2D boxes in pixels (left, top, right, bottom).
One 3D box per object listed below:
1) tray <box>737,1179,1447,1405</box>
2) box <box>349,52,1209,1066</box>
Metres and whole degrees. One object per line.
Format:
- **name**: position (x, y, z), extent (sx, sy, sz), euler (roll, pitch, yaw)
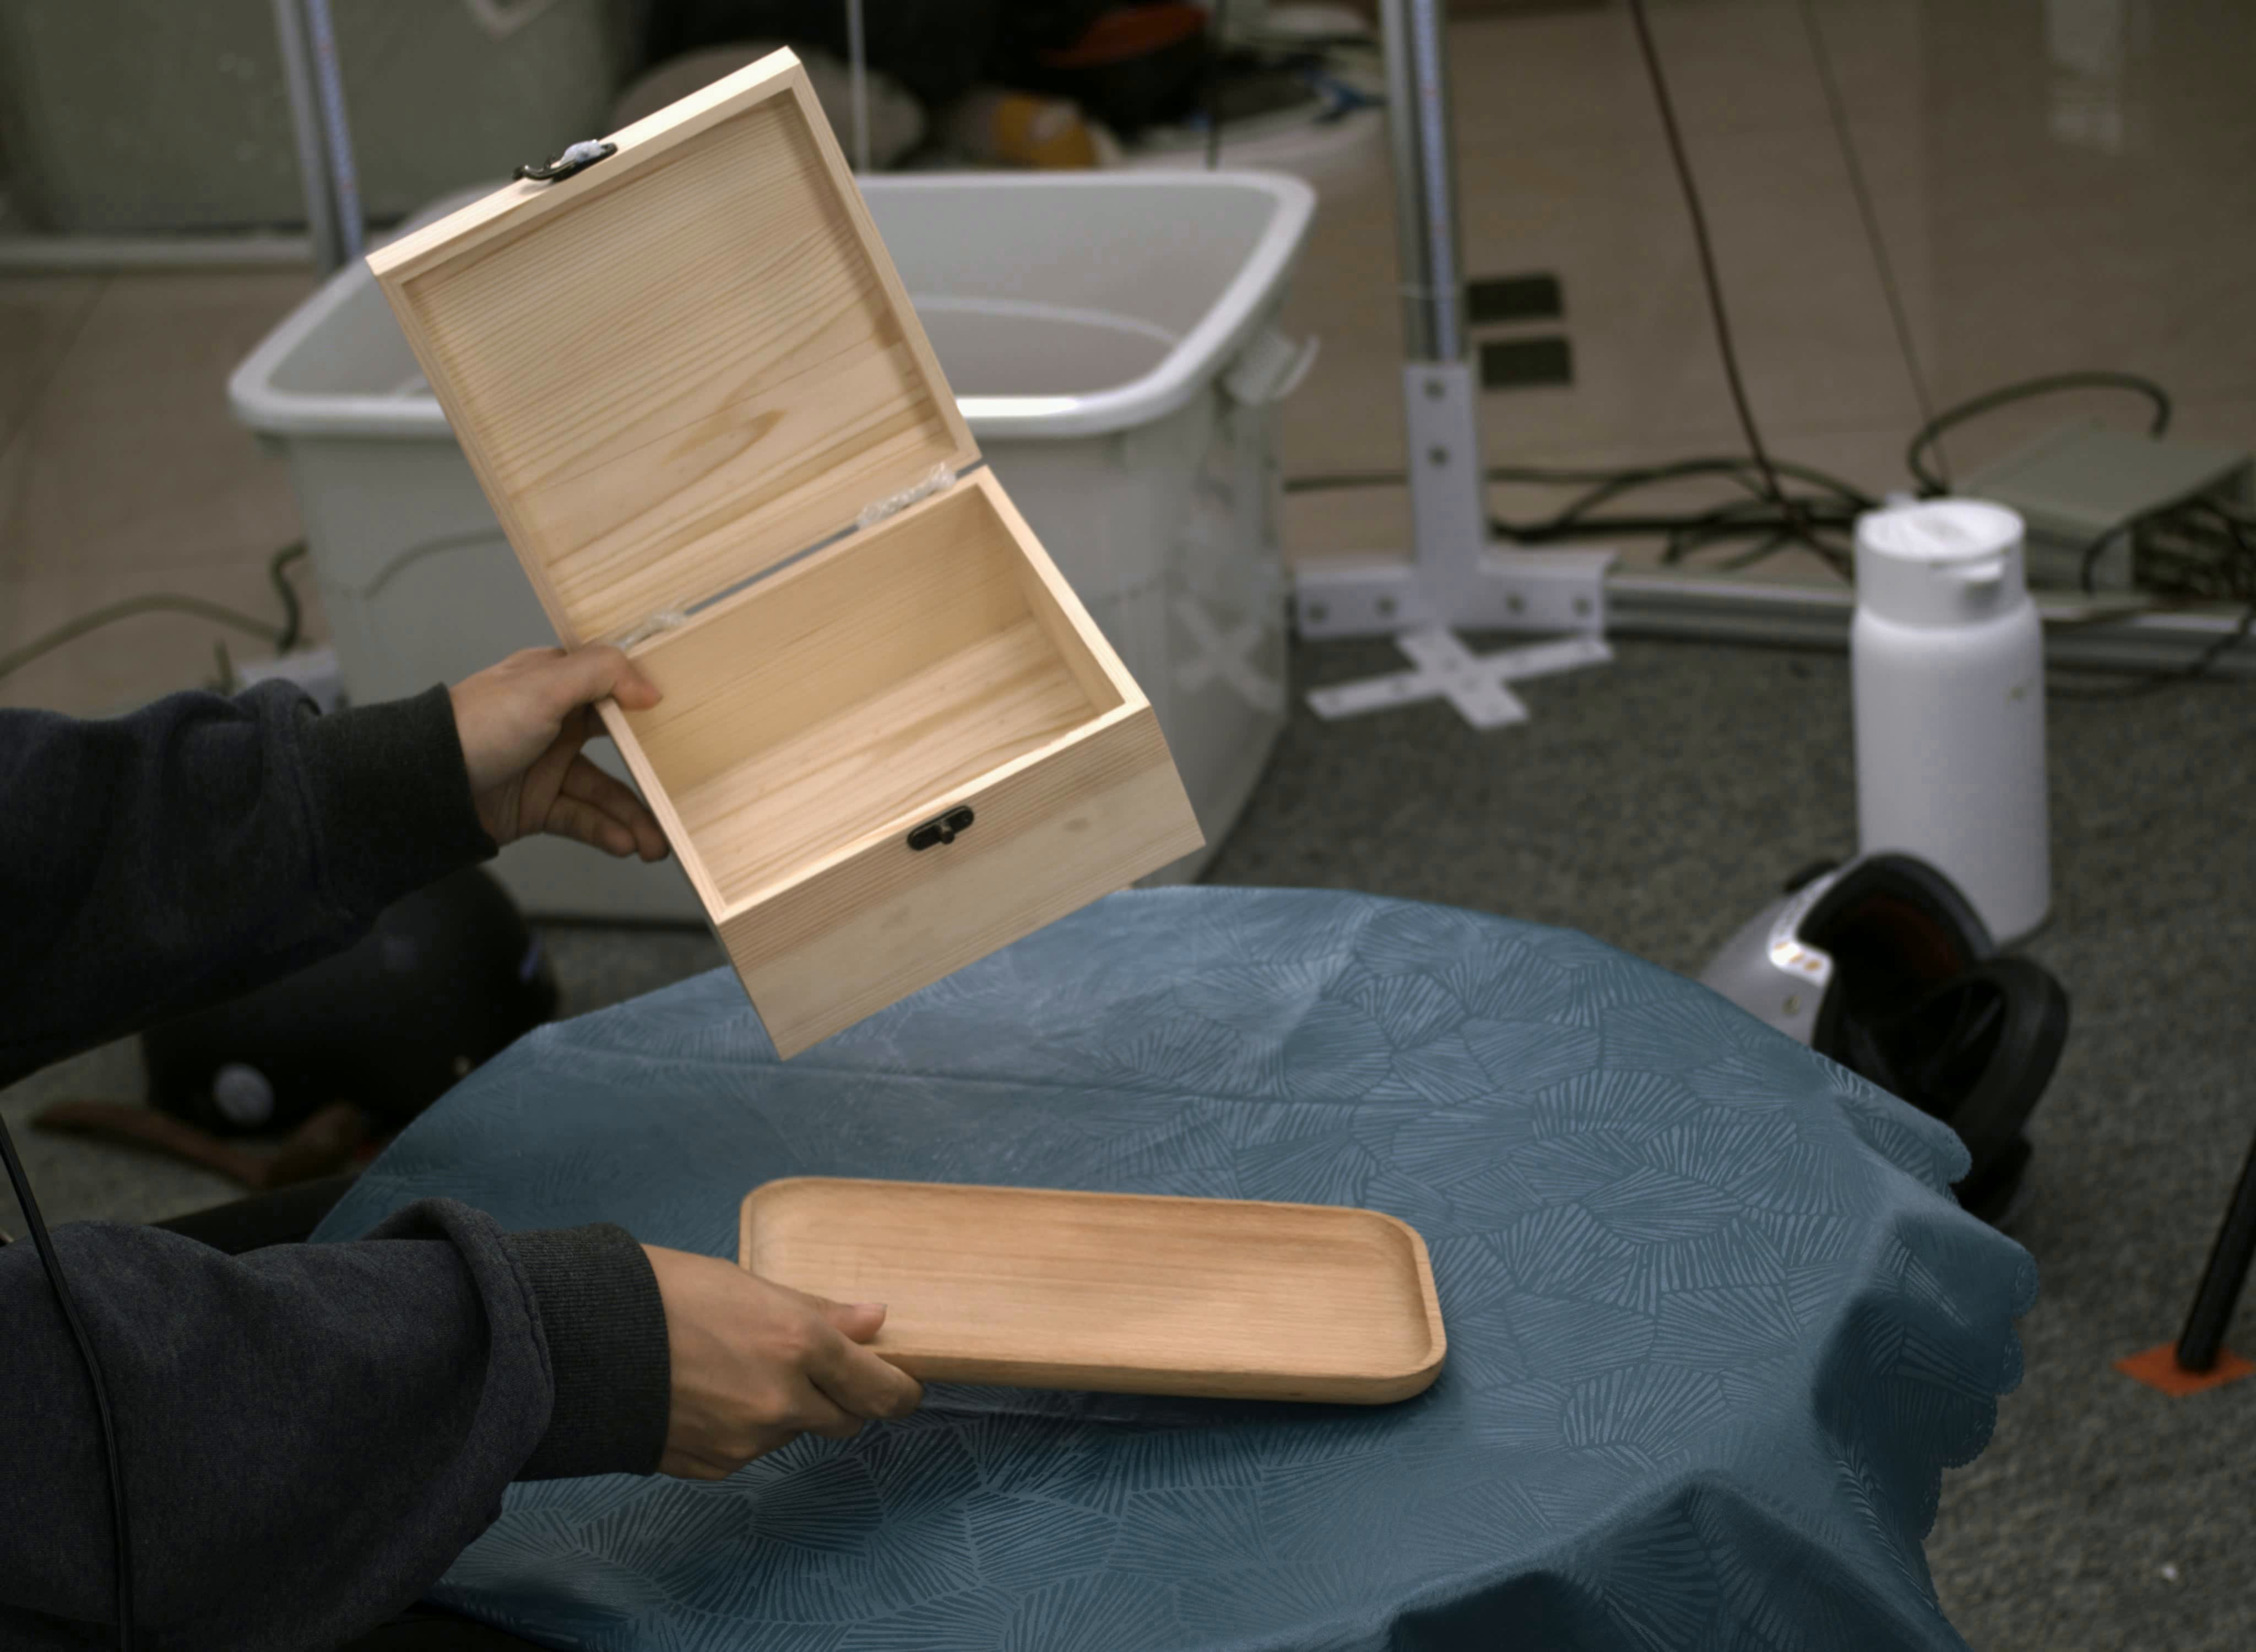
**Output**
- **tray**: position (-0.014, 0.166, 2.019), extent (0.250, 0.023, 0.129), euler (3, 21, -4)
- **box**: position (-0.132, -0.104, 2.138), extent (0.181, 0.258, 0.261), euler (-30, 40, -4)
